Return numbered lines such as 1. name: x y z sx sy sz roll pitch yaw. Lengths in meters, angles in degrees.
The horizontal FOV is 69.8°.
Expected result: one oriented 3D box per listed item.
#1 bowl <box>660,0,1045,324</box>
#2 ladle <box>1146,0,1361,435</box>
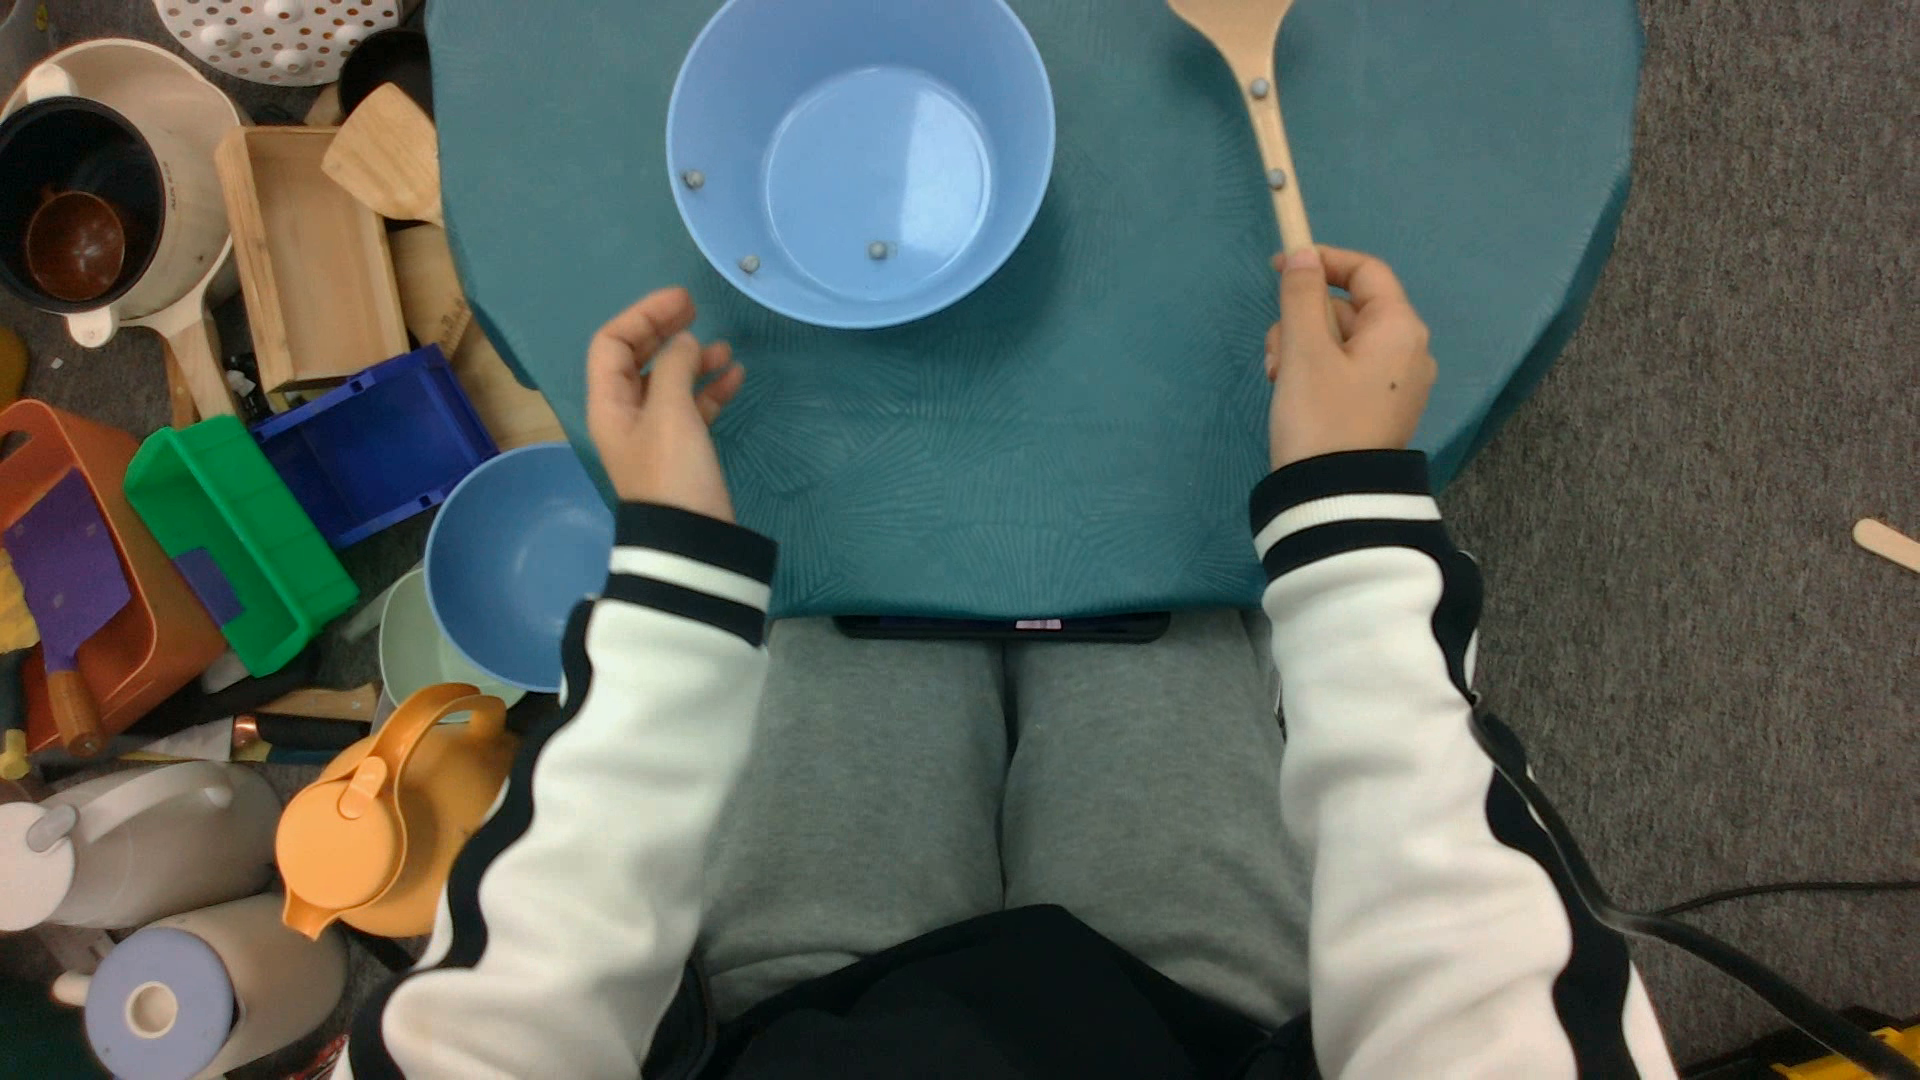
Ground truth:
1. bowl: -0.046 -0.180 0.651 0.176 0.070 0.176 -1 83 5
2. ladle: 0.136 -0.173 0.595 0.072 0.072 0.255 -13 73 4
